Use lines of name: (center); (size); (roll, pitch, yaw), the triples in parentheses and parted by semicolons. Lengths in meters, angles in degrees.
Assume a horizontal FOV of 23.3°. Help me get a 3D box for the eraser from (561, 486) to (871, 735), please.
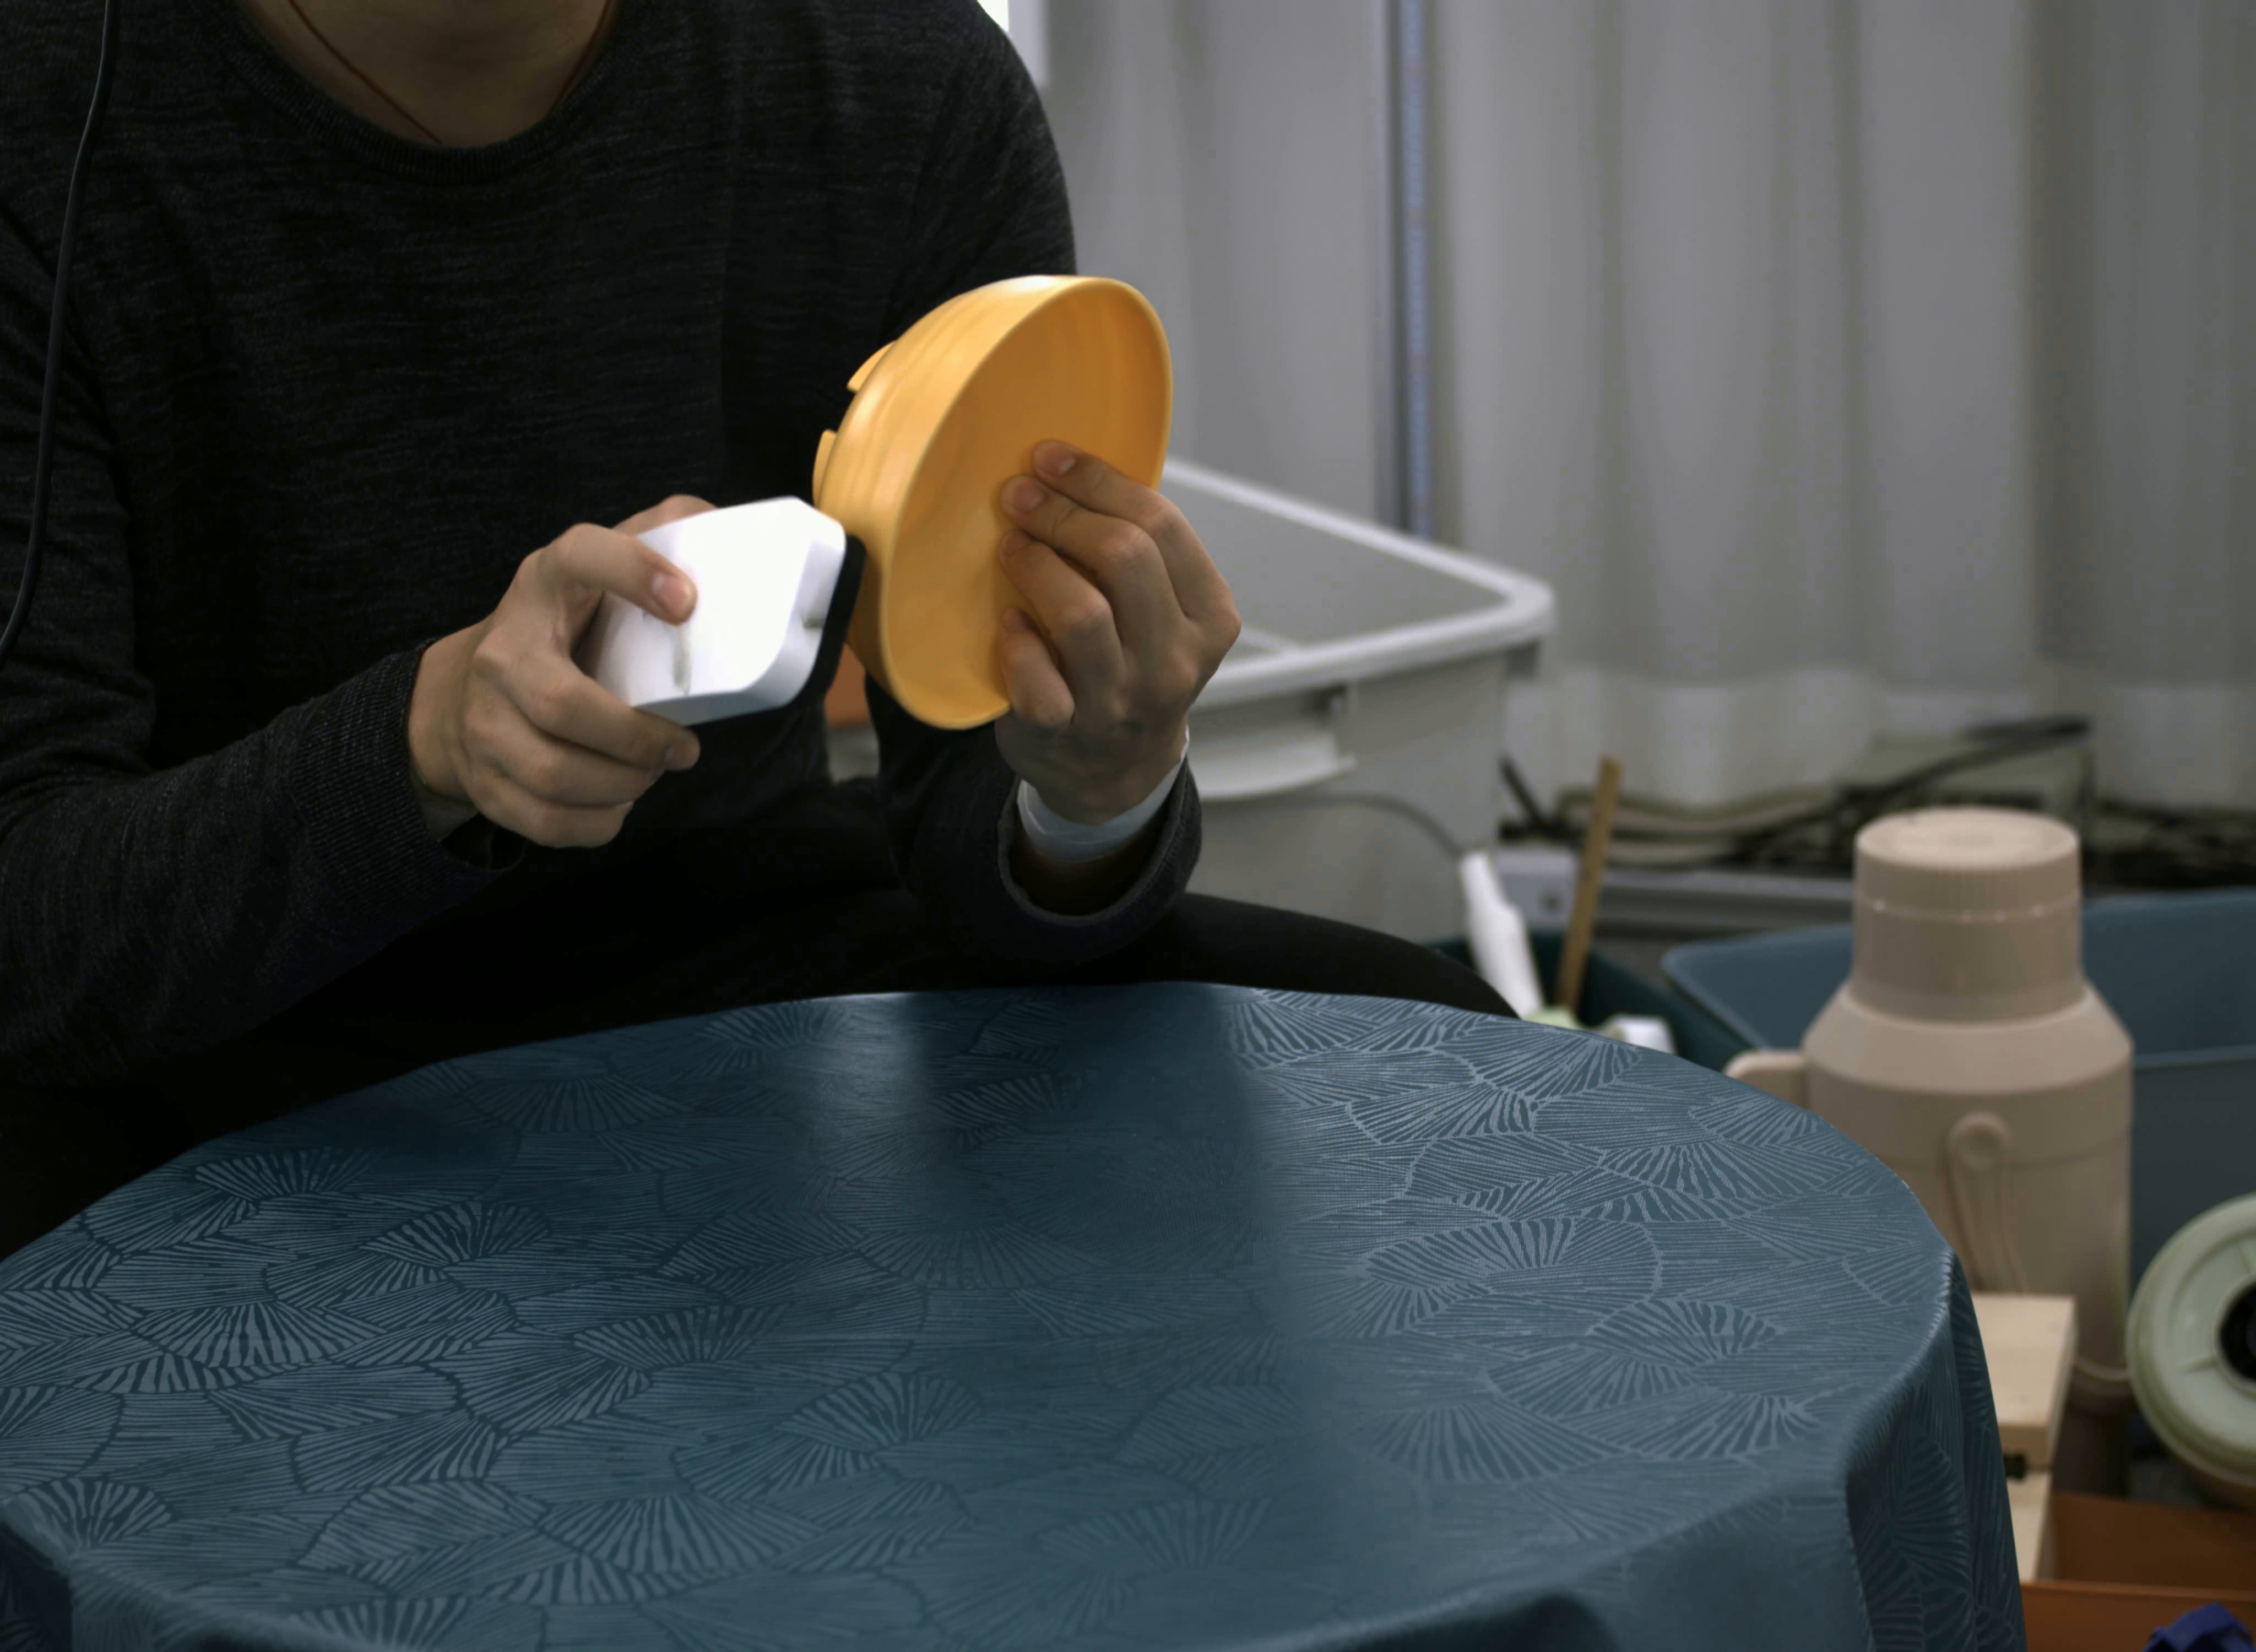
eraser: (-0.125, -0.064, 1.622); (0.034, 0.064, 0.131); (24, -18, -30)

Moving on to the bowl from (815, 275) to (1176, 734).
bowl: (-0.051, -0.106, 1.653); (0.060, 0.144, 0.145); (24, 26, 28)
